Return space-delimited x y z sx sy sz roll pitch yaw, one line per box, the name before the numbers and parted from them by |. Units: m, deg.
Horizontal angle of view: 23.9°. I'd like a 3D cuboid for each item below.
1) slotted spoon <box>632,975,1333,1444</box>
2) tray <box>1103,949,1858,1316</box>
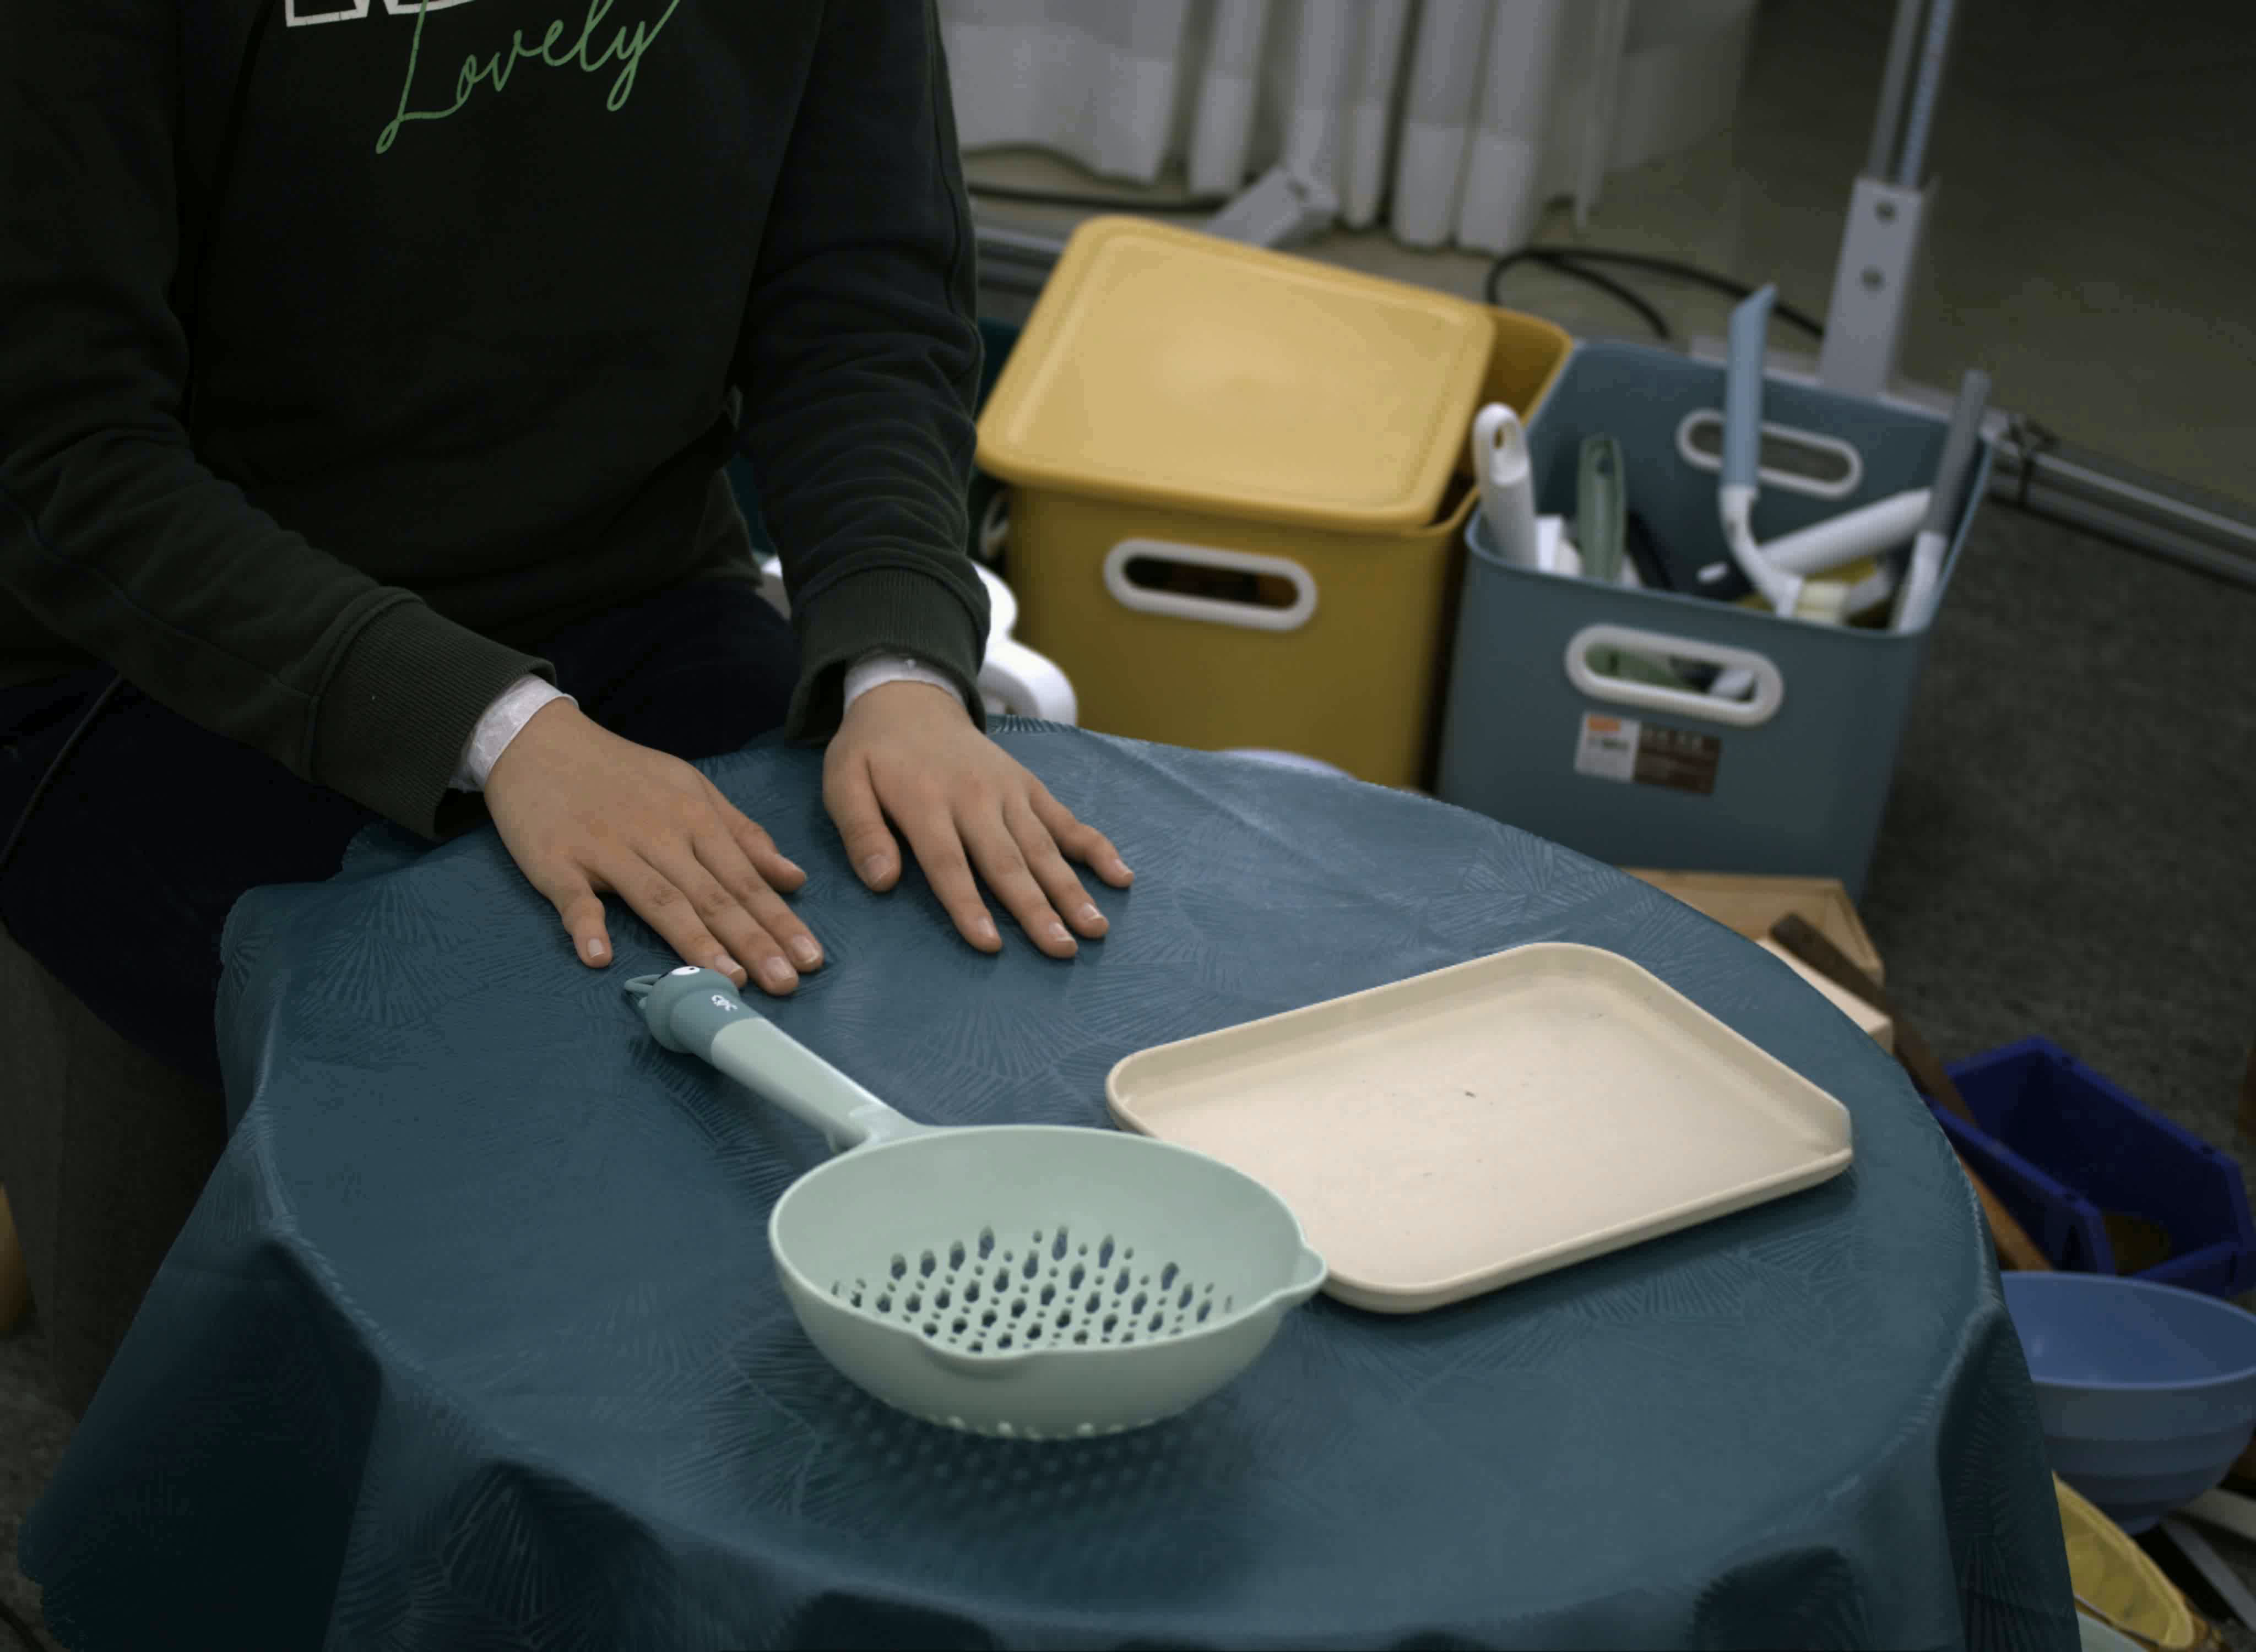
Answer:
slotted spoon | -0.079 0.109 1.741 0.168 0.075 0.362 -9 30 -30
tray | 0.122 0.105 1.847 0.238 0.017 0.173 -13 33 -35
